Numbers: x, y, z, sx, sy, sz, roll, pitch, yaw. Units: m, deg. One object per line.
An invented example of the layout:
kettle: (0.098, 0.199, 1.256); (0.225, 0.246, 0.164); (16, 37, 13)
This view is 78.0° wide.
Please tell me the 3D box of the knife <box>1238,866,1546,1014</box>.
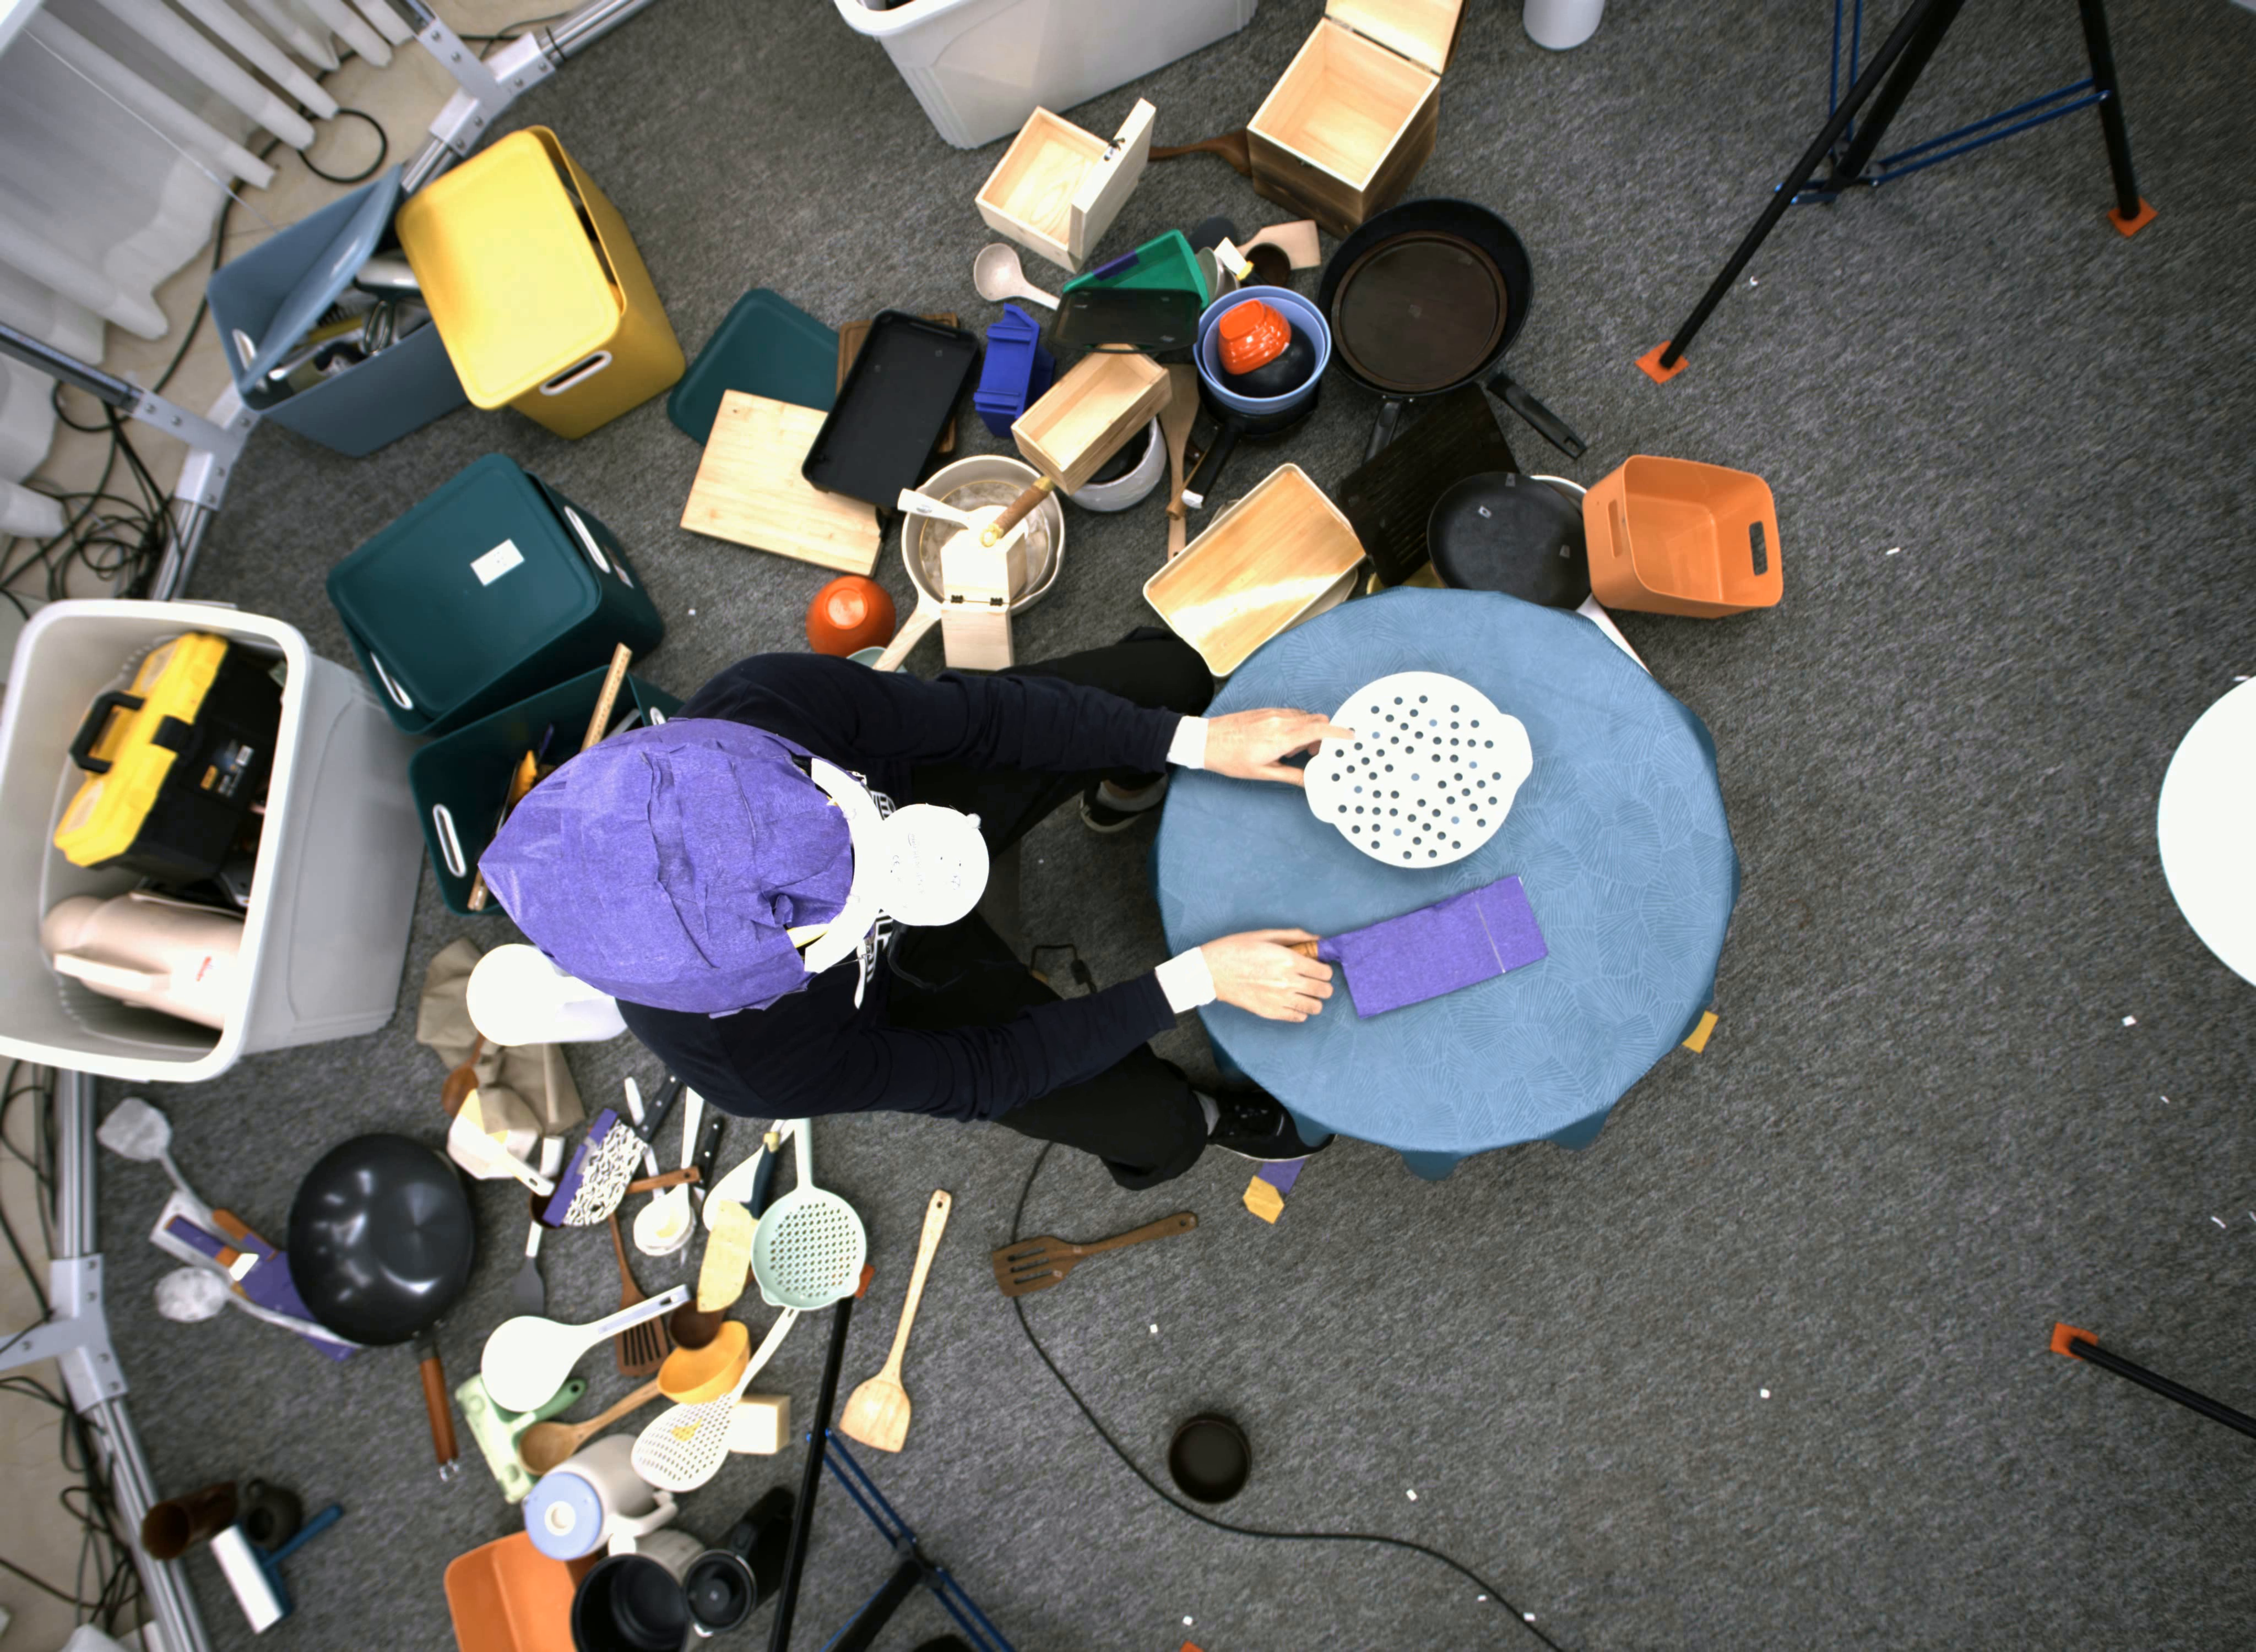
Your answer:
knife: (0.275, 0.138, 1.438); (0.317, 0.032, 0.103); (-20, 83, 7)

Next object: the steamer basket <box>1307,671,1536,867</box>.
steamer basket: (0.304, -0.058, 1.428); (0.232, 0.069, 0.200); (-12, 83, 13)
